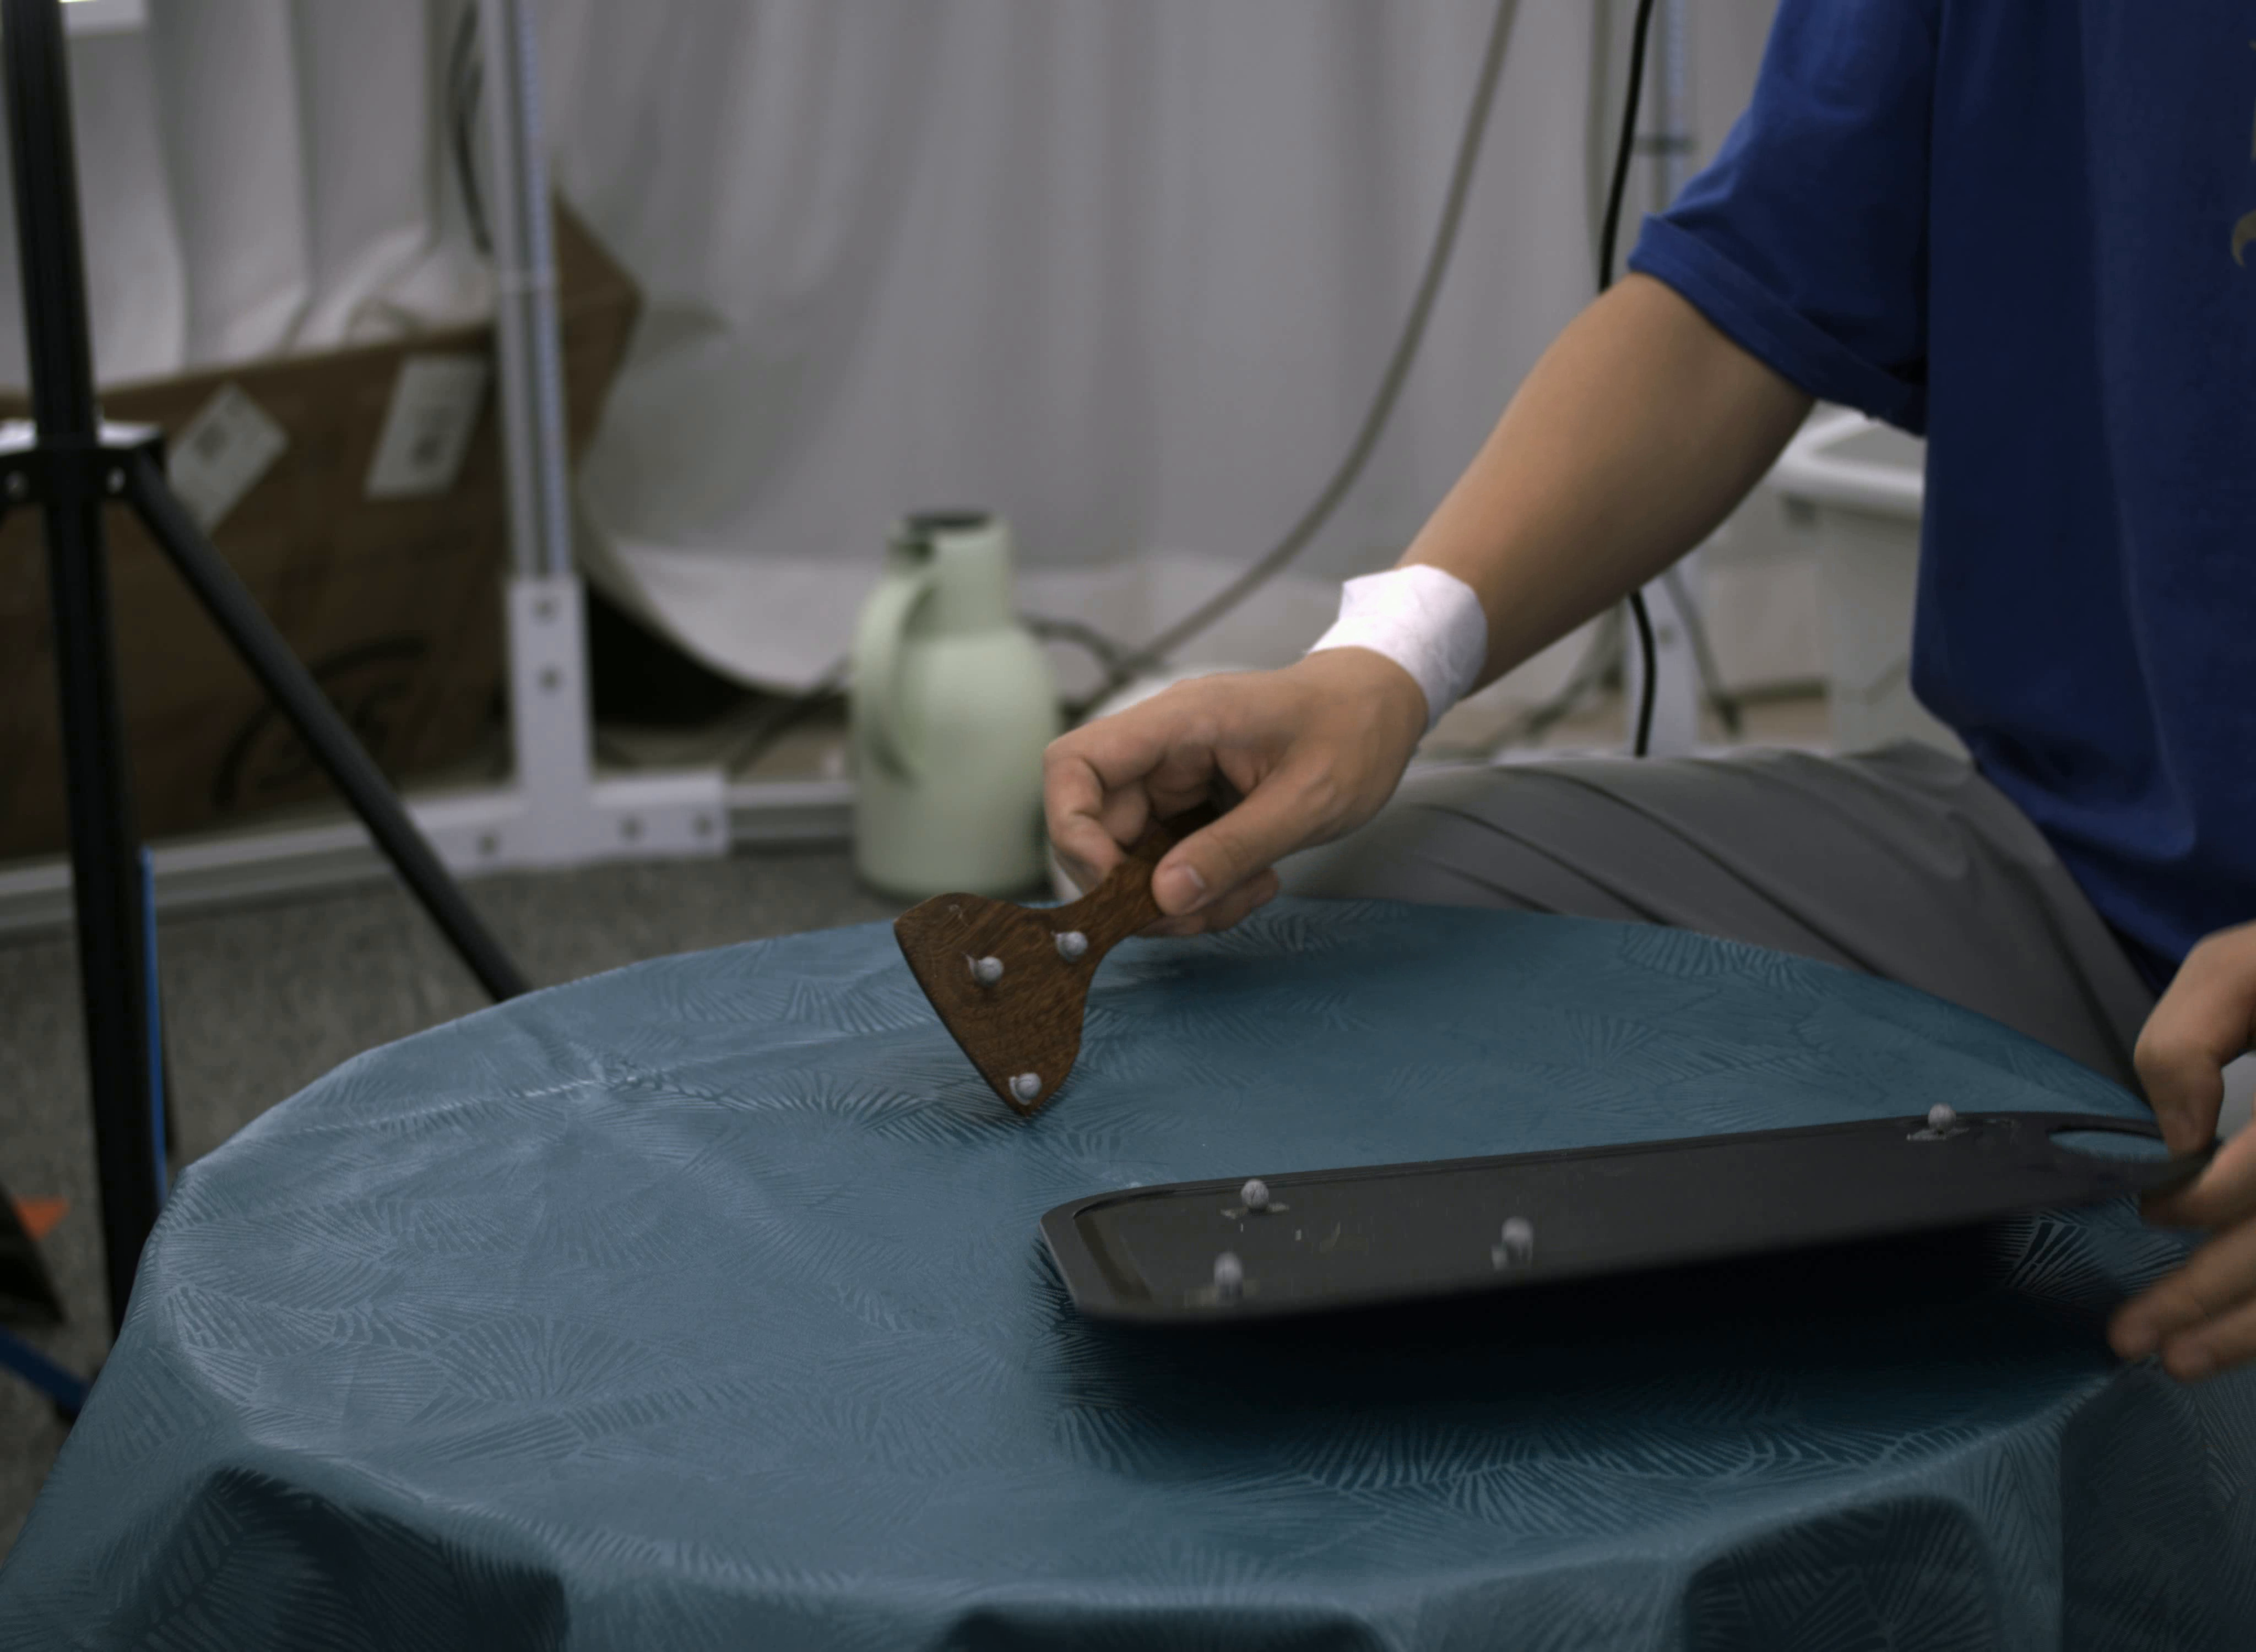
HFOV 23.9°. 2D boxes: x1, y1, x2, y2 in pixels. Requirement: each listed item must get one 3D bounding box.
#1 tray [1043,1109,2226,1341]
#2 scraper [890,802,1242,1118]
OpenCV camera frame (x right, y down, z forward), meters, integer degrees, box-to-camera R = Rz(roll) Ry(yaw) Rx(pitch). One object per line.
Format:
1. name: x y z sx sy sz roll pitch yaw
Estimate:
1. tray: 0.142 0.106 1.460 0.323 0.010 0.212 -5 7 -3
2. scraper: -0.013 0.032 1.704 0.011 0.076 0.208 -33 0 32
